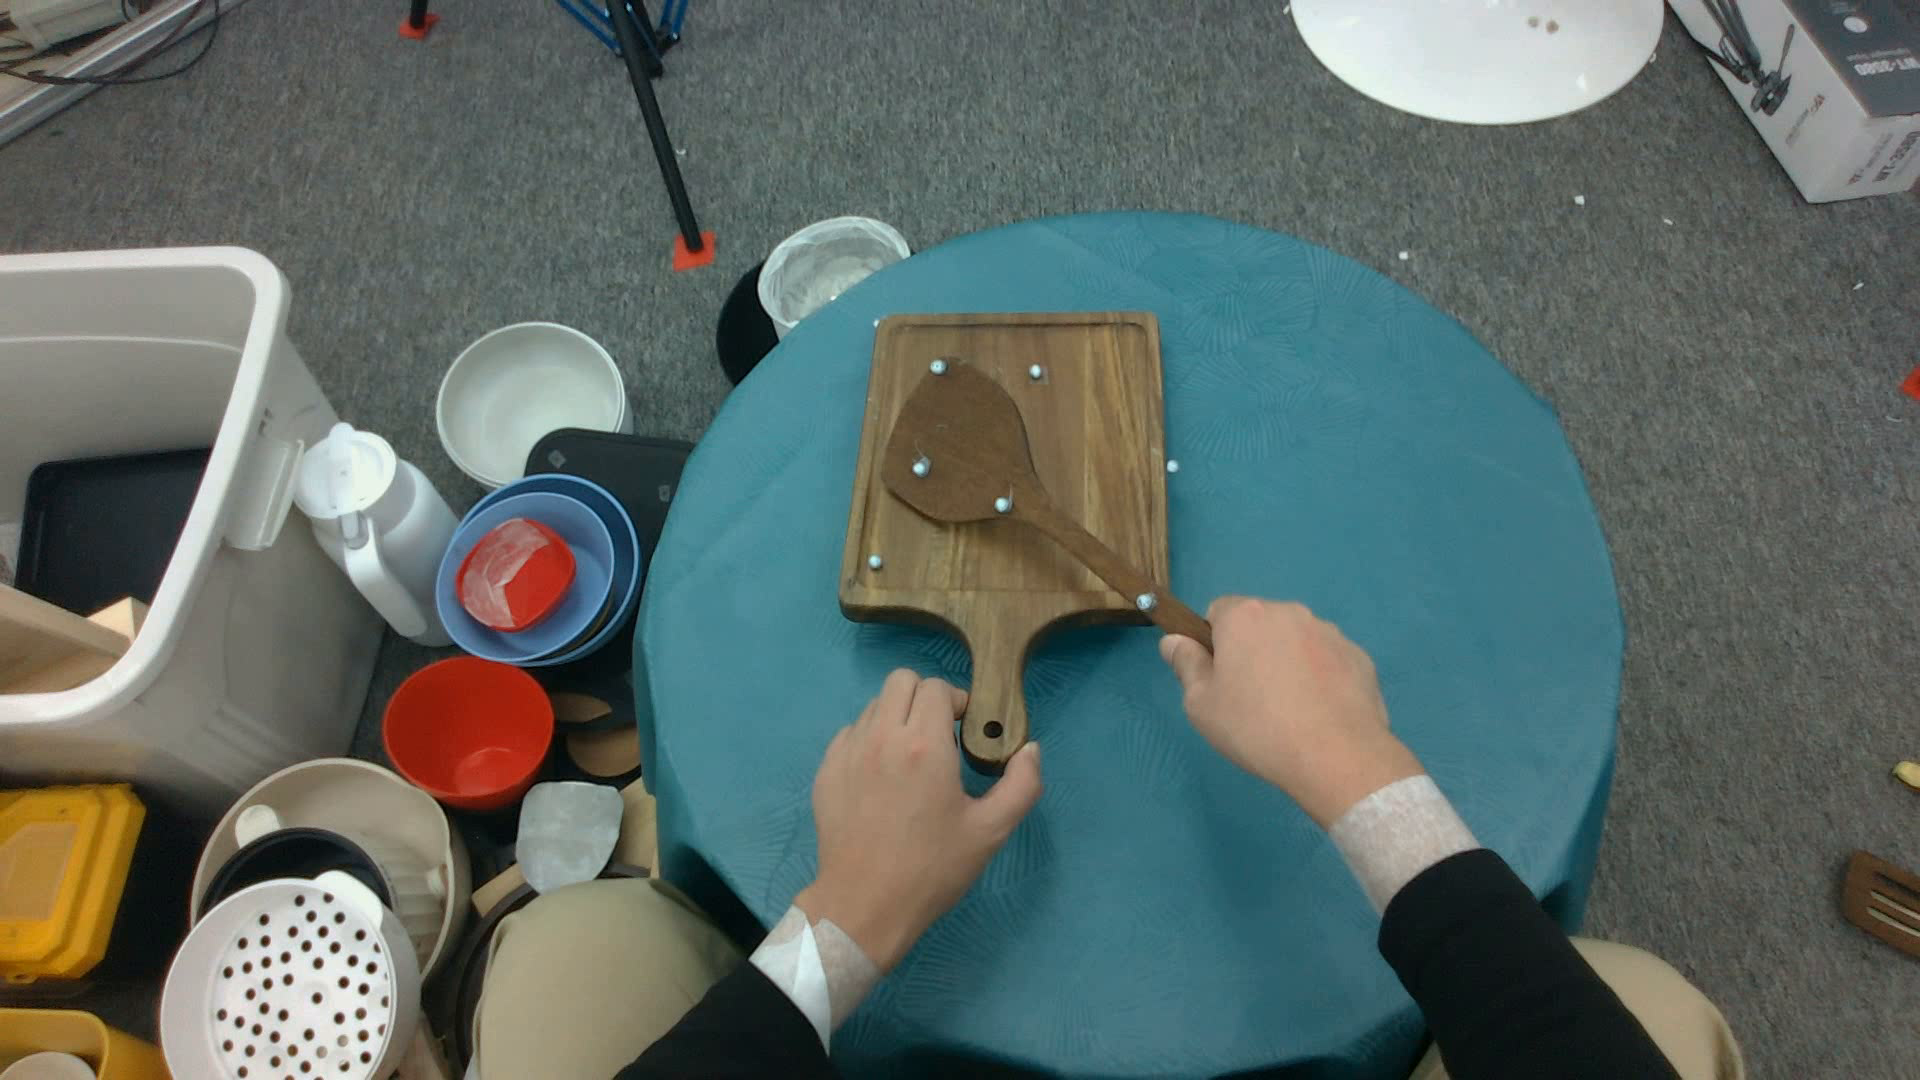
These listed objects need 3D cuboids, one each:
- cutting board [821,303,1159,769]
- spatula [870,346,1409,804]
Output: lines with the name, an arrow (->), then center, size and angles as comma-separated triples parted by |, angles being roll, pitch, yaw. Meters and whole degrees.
cutting board -> 0.019, -0.020, 0.847 | 0.201, 0.023, 0.354 | 0, 52, 4
spatula -> 0.085, 0.016, 0.756 | 0.386, 0.016, 0.096 | 40, 107, 32
